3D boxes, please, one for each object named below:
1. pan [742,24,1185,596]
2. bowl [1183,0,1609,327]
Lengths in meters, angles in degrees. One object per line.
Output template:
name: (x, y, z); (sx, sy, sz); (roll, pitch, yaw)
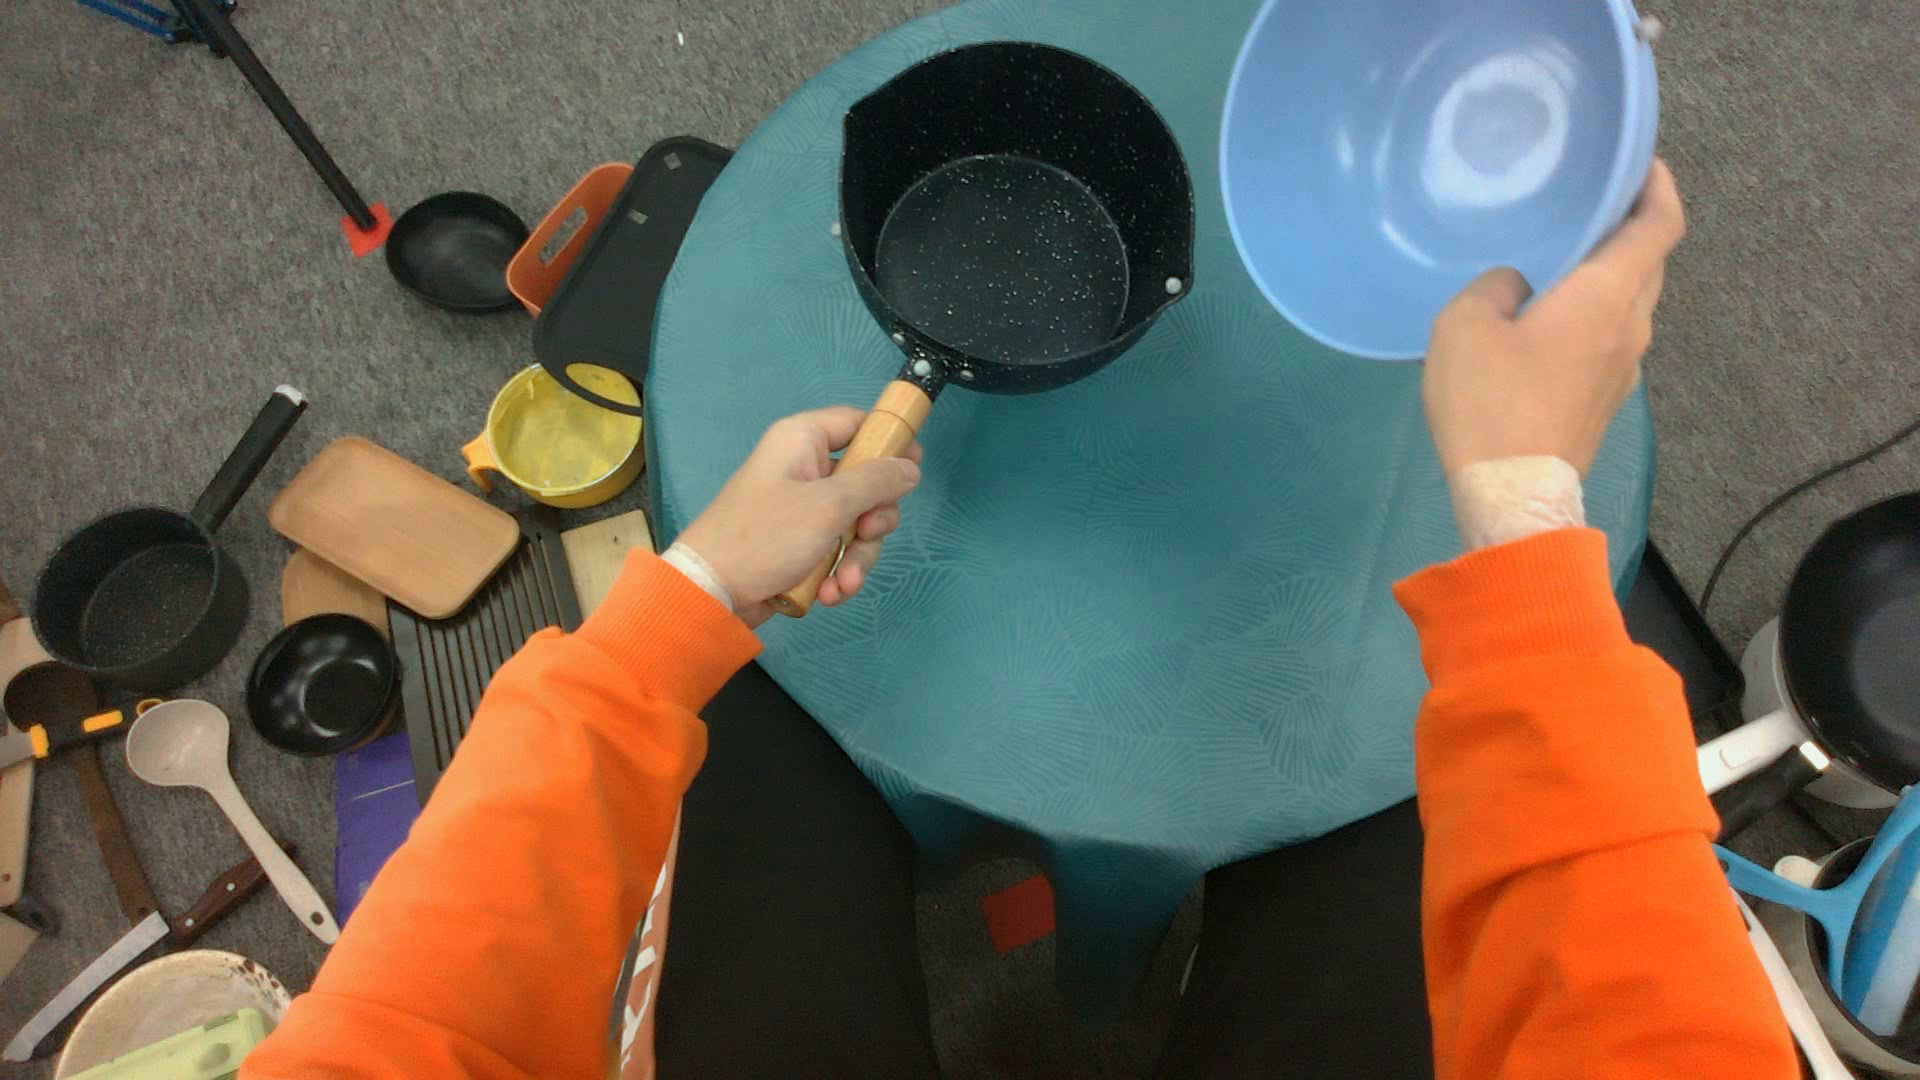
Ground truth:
pan: (-0.013, -0.108, 0.711); (0.207, 0.108, 0.344); (27, 72, 1)
bowl: (0.203, -0.199, 0.611); (0.096, 0.195, 0.197); (-16, 65, -35)
